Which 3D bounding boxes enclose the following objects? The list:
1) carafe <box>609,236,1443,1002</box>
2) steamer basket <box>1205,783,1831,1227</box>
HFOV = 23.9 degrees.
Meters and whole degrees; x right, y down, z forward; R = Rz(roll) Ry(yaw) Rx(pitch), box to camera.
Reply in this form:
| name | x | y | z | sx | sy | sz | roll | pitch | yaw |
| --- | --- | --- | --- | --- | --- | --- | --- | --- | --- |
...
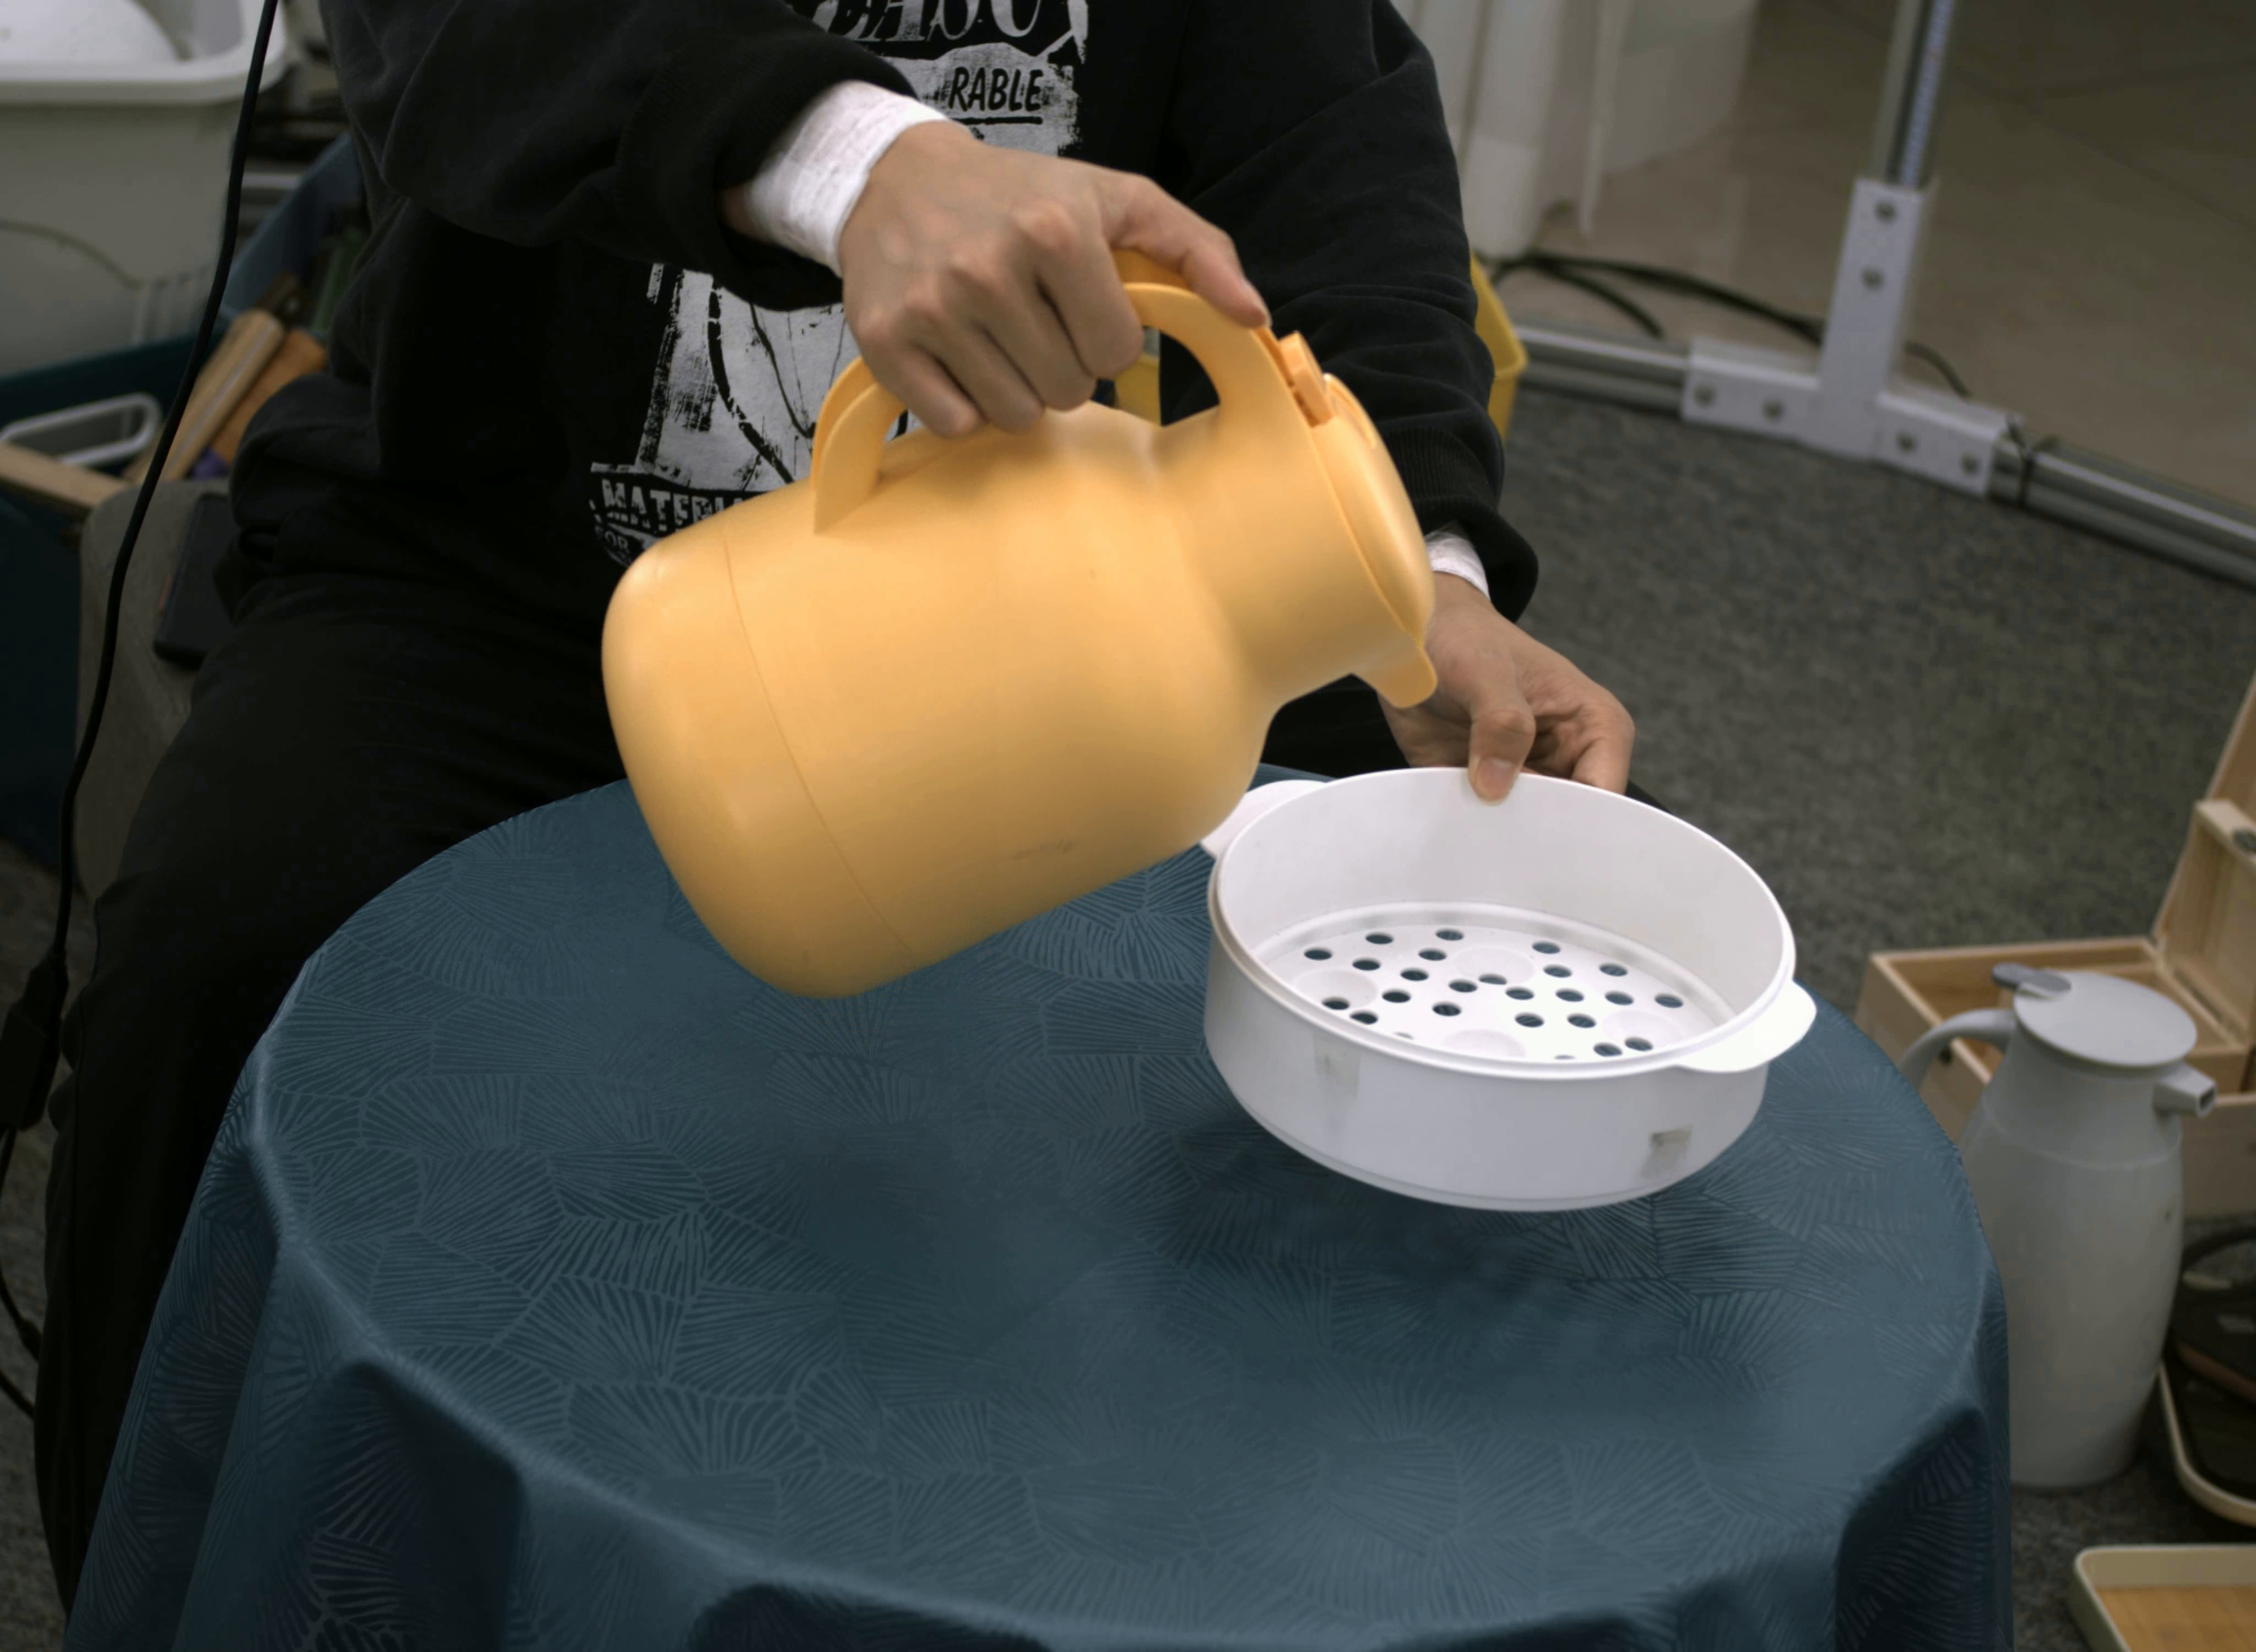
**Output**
| name | x | y | z | sx | sy | sz | roll | pitch | yaw |
| --- | --- | --- | --- | --- | --- | --- | --- | --- | --- |
| carafe | -0.037 | -0.074 | 1.714 | 0.260 | 0.201 | 0.165 | -25 | 30 | 6 |
| steamer basket | 0.128 | 0.061 | 1.812 | 0.232 | 0.069 | 0.201 | 23 | 34 | 31 |
